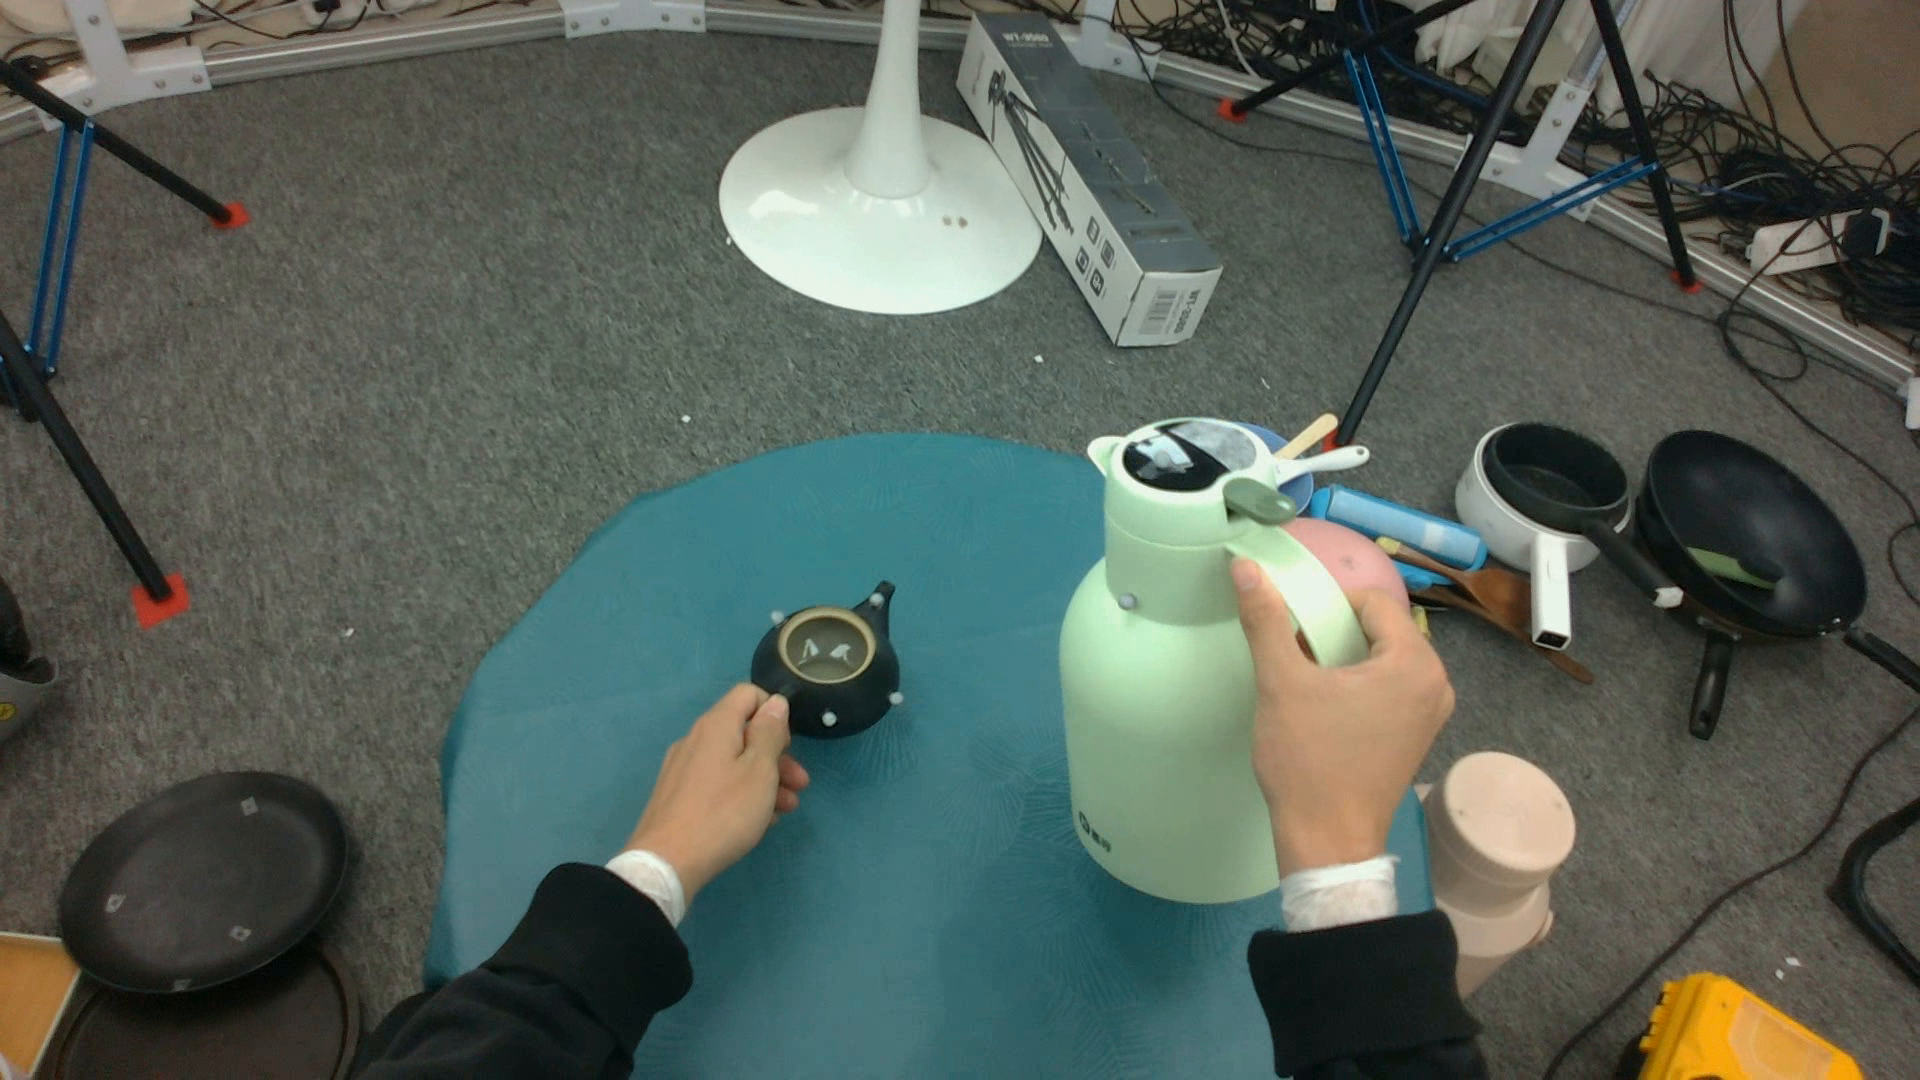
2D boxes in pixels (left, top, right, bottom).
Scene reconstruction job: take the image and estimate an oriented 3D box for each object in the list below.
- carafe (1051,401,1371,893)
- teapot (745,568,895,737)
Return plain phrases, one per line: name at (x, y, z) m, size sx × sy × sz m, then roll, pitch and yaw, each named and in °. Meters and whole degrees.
carafe at (0.126, 0.060, 0.708) m, size 0.145 × 0.255 × 0.187 m, roll -26°, pitch 42°, yaw -25°
teapot at (-0.085, 0.072, 0.830) m, size 0.091 × 0.053 × 0.134 m, roll 28°, pitch 49°, yaw 17°
